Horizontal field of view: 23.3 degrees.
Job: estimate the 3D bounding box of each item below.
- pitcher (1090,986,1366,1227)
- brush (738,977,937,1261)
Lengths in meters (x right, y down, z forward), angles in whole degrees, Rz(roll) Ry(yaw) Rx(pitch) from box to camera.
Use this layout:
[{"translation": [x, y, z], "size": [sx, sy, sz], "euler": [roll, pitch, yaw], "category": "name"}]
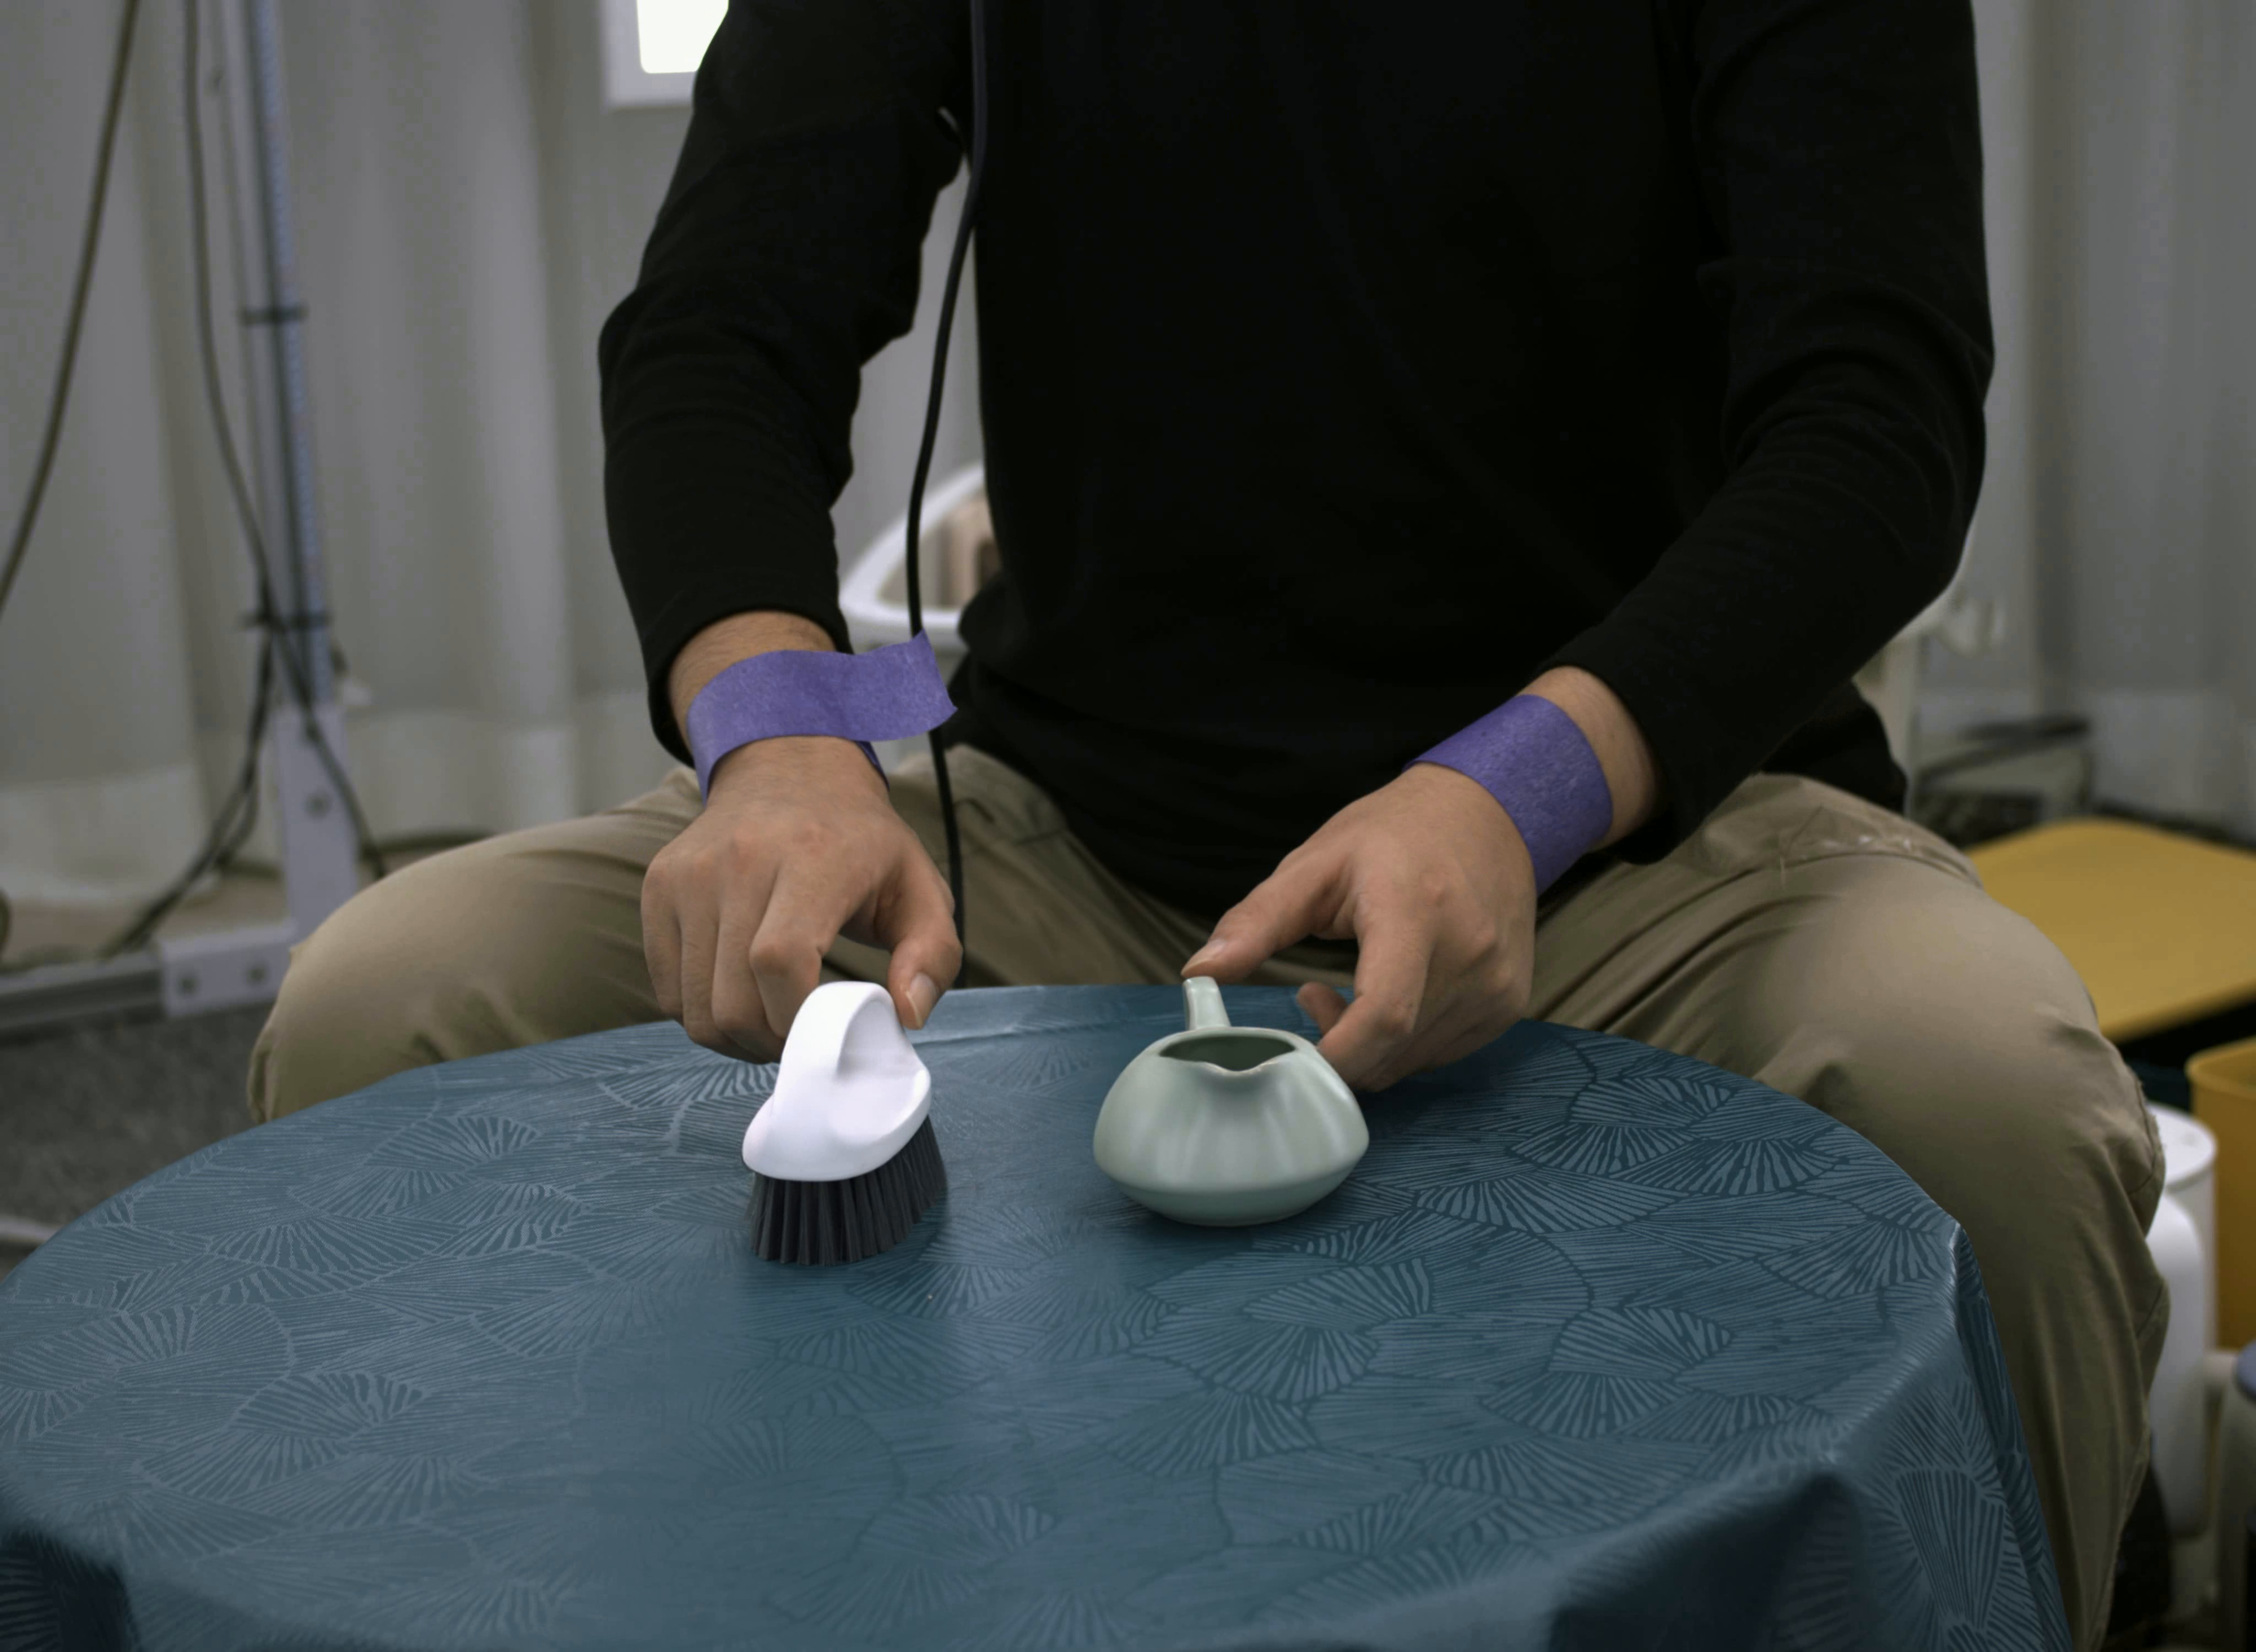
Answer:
[{"translation": [0.029, 0.088, 1.704], "size": [0.085, 0.060, 0.108], "euler": [-5, 12, -8], "category": "pitcher"}, {"translation": [-0.091, 0.086, 1.700], "size": [0.050, 0.072, 0.099], "euler": [2, 16, 14], "category": "brush"}]
